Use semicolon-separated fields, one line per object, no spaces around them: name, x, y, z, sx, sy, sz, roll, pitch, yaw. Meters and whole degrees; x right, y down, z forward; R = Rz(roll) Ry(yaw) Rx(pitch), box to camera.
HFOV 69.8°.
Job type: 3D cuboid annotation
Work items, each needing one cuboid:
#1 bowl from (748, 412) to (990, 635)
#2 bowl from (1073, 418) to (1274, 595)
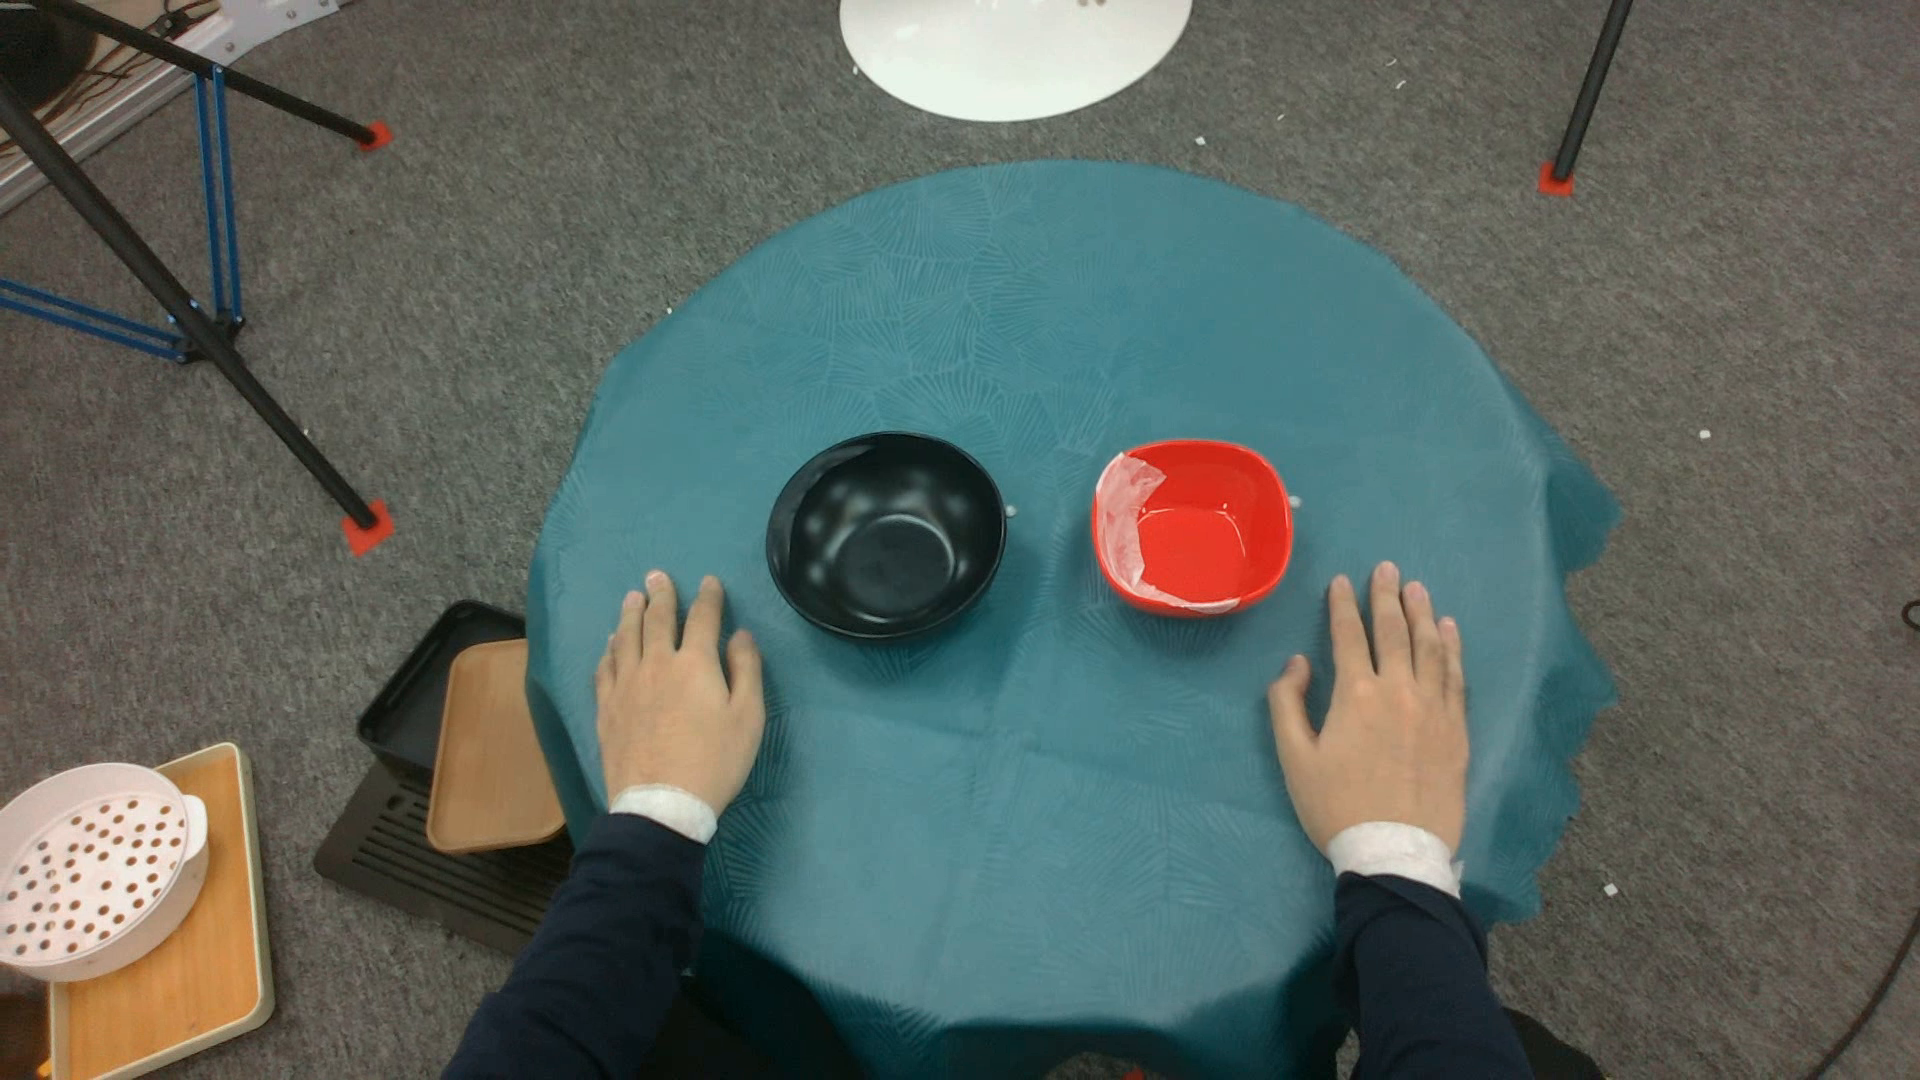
bowl;-0.050;-0.003;0.798;0.140;0.049;0.140;-2;63;5
bowl;0.119;-0.011;0.781;0.119;0.051;0.119;-2;57;3
